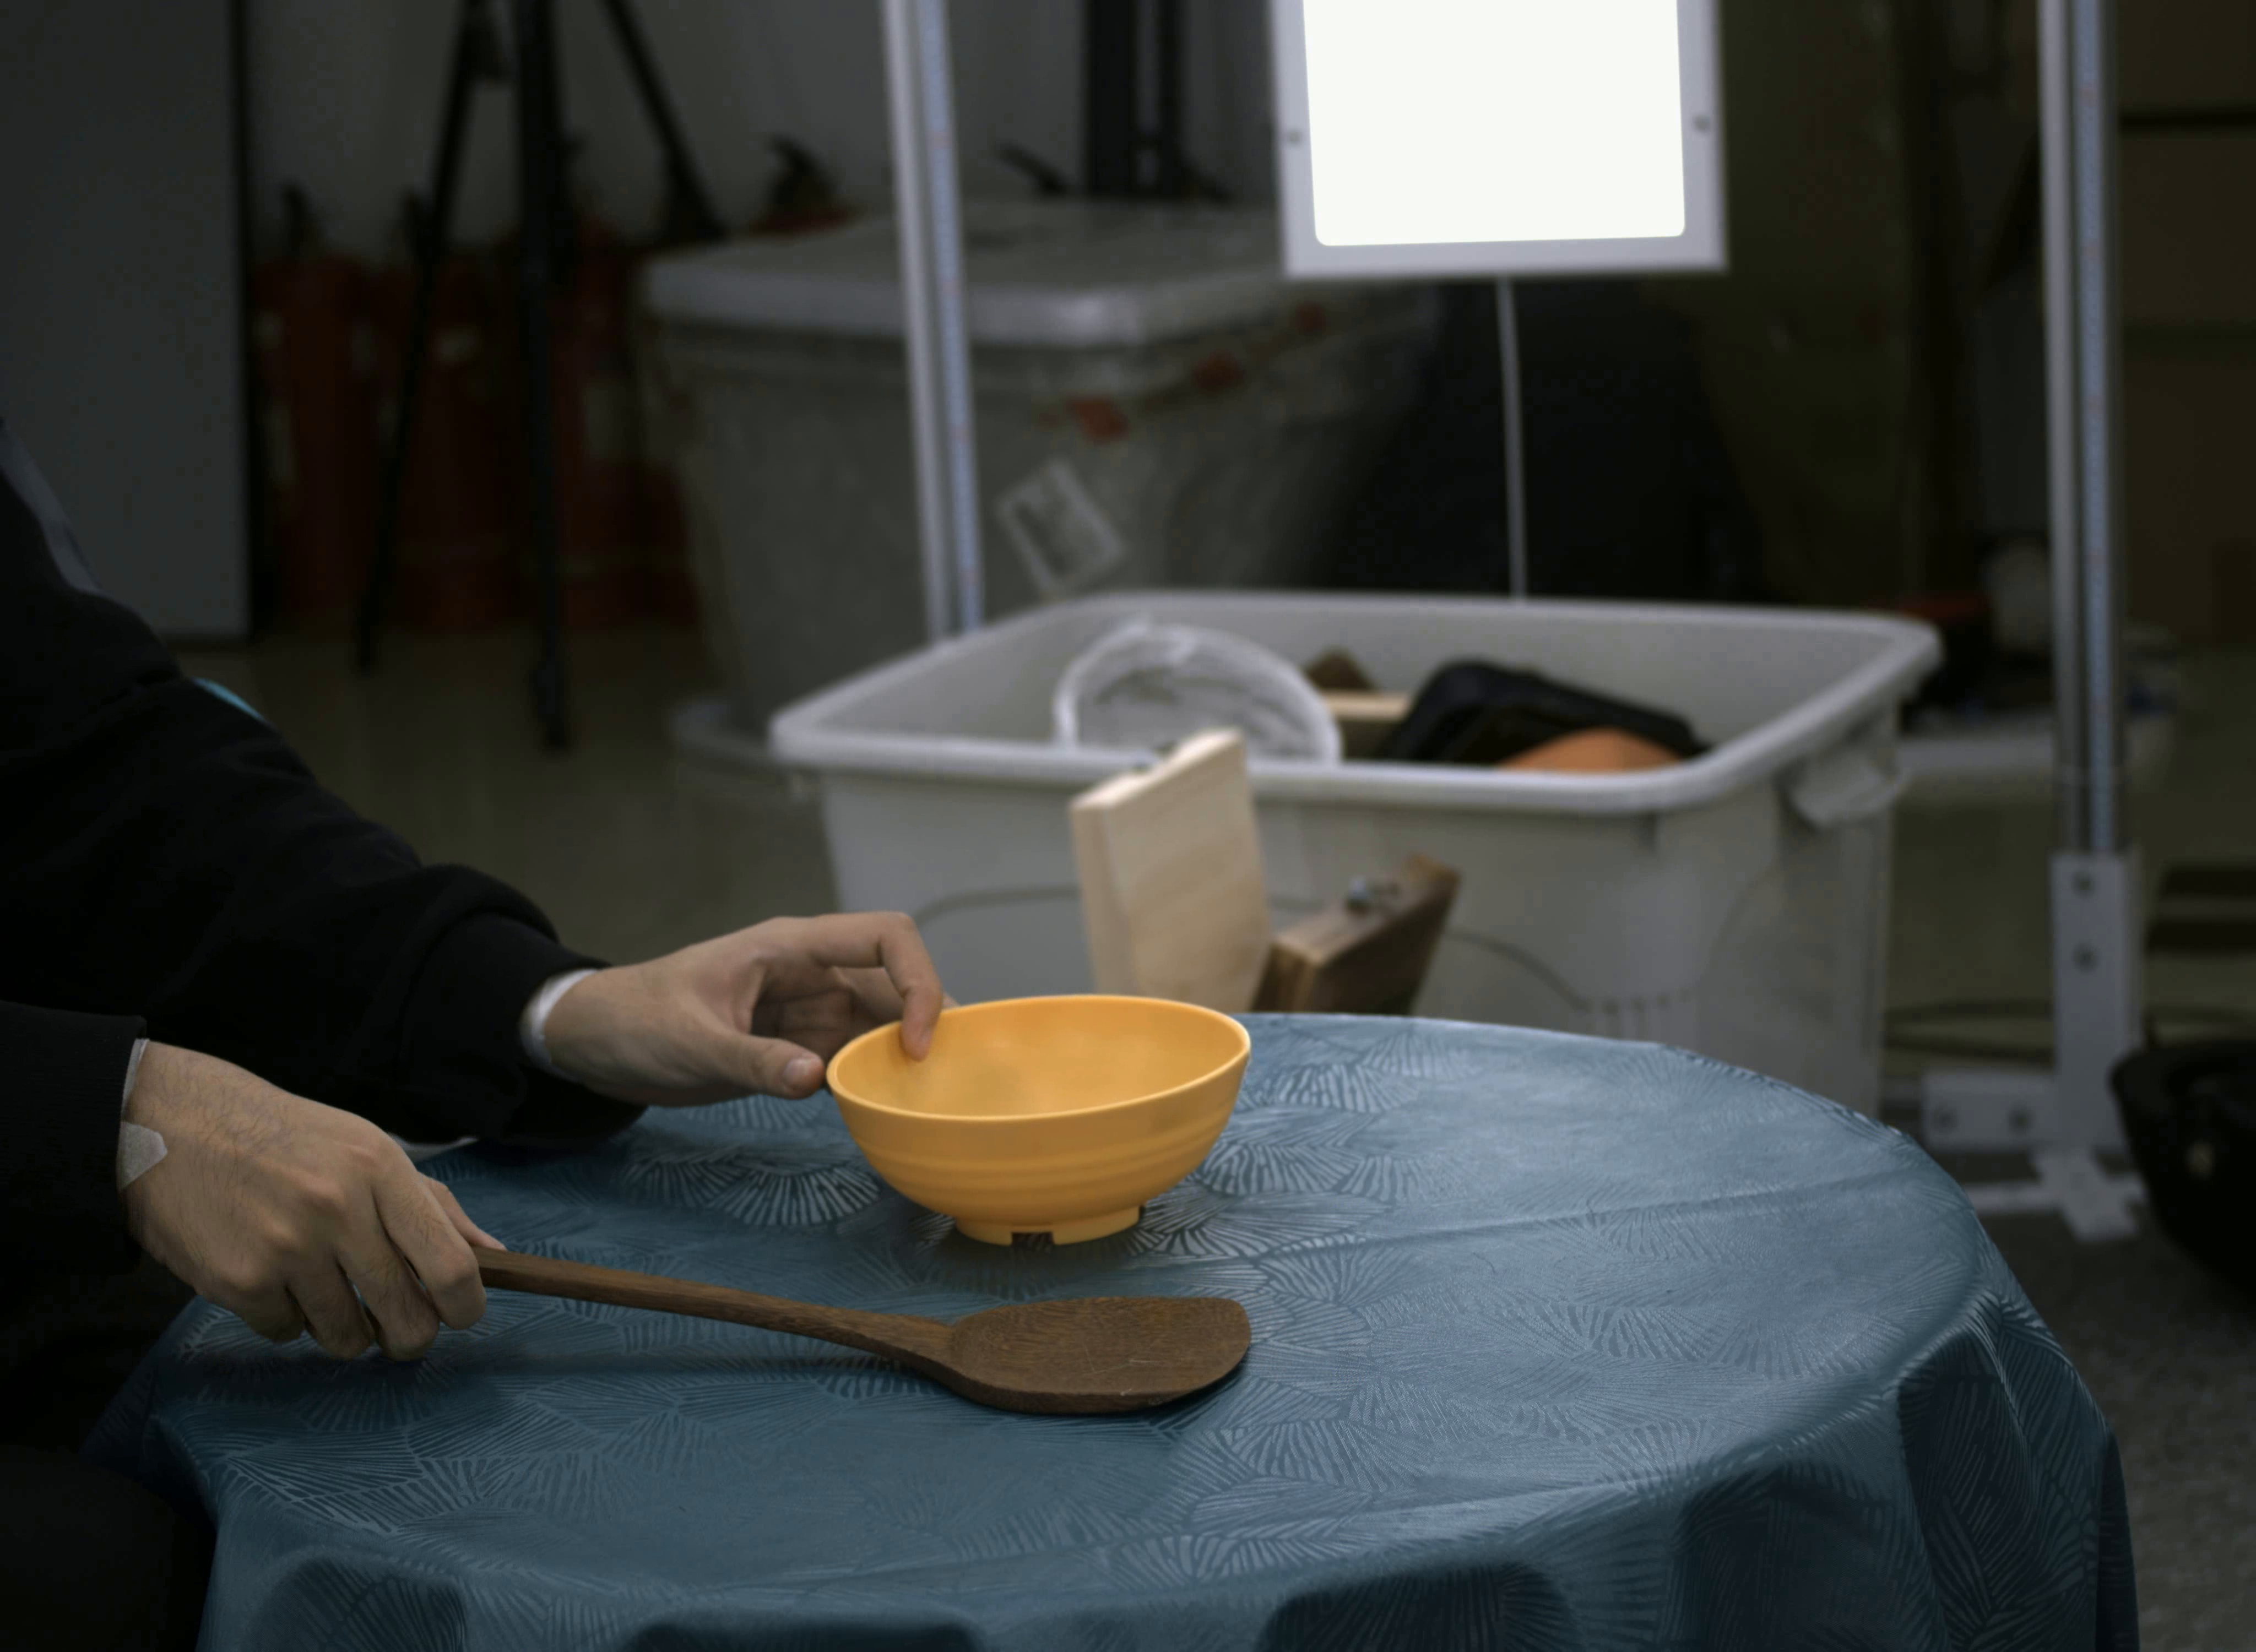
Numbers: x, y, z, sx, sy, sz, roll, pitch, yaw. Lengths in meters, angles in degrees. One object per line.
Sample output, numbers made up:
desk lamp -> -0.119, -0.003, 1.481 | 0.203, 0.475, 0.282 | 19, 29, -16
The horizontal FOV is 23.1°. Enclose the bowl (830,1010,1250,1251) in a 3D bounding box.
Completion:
bowl -> -0.028, 0.107, 1.871 | 0.145, 0.060, 0.145 | -6, 12, 0

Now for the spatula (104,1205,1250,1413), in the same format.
spatula -> -0.150, 0.150, 1.765 | 0.390, 0.016, 0.094 | 6, 16, 16
